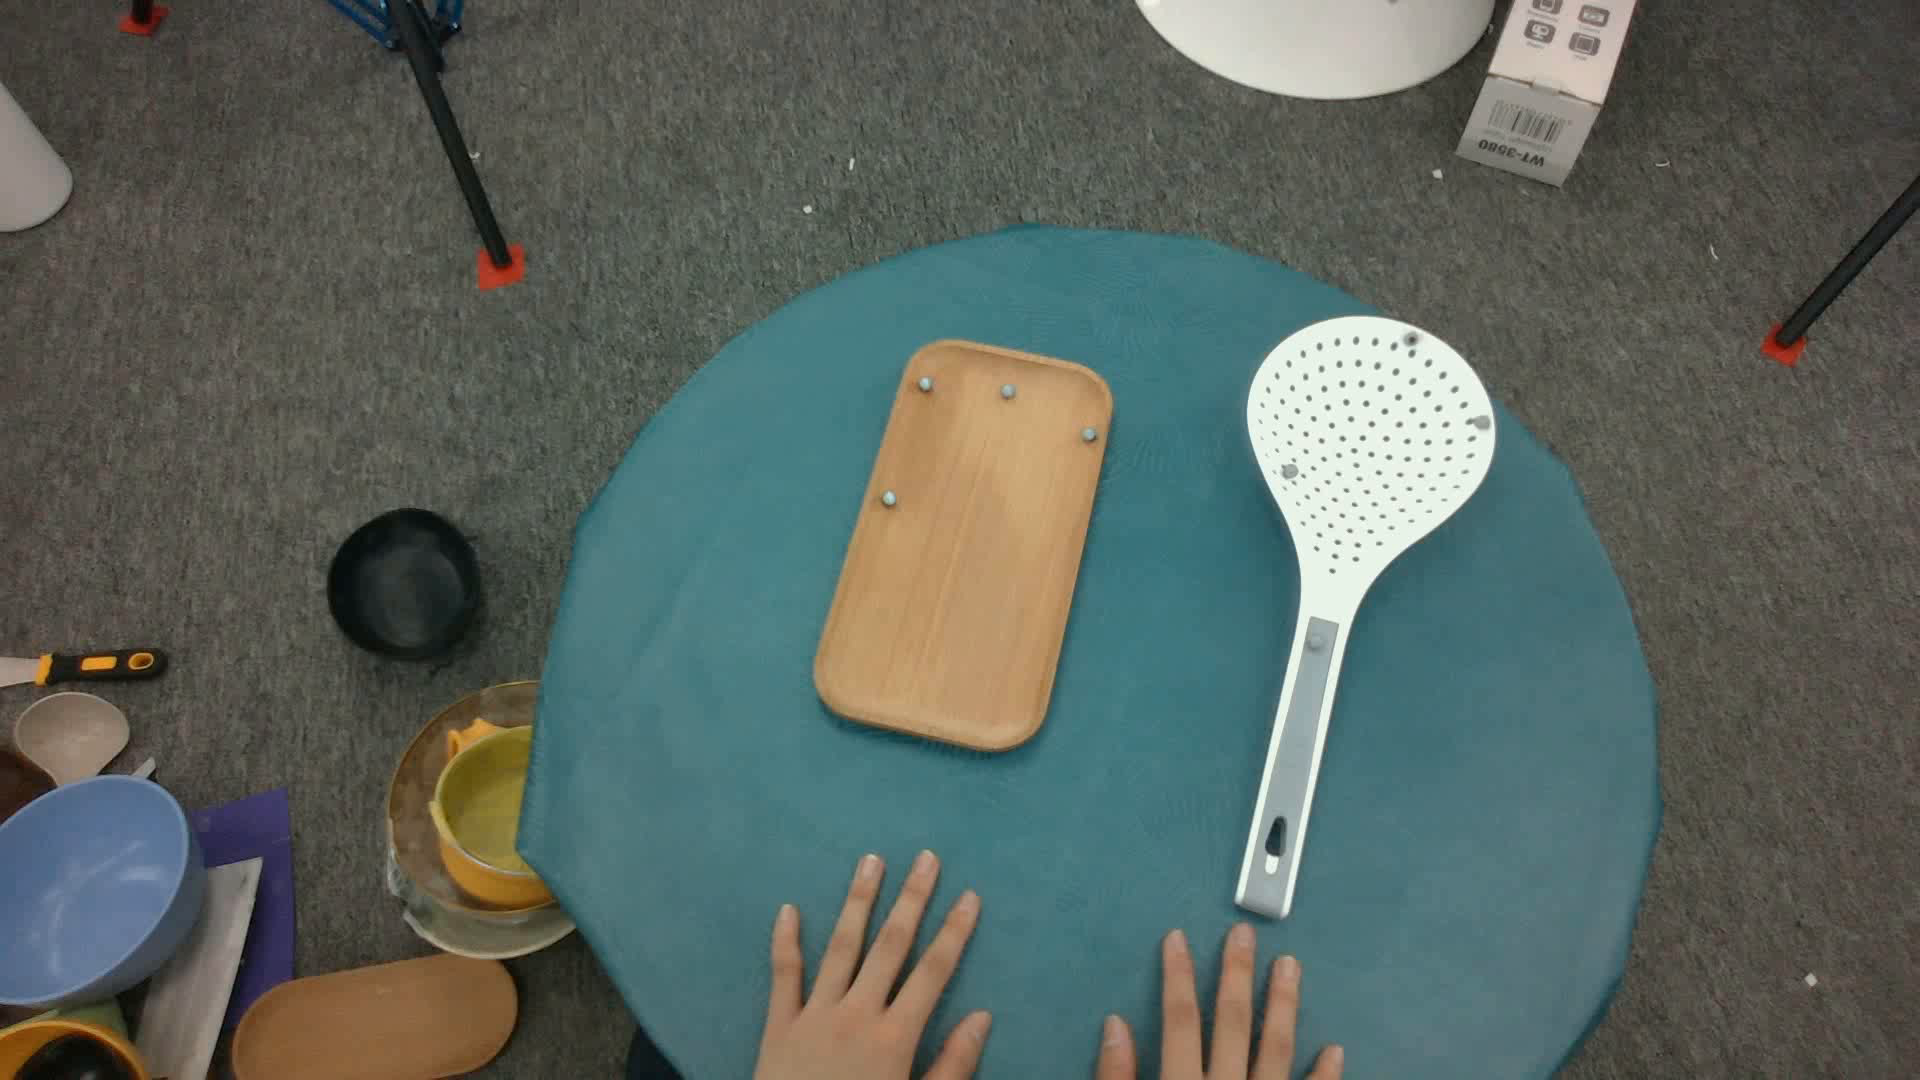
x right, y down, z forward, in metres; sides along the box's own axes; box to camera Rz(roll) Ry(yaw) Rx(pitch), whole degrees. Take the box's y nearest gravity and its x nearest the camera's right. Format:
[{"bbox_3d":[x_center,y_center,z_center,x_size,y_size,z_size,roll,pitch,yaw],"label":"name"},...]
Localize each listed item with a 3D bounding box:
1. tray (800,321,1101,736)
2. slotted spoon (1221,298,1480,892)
[{"bbox_3d":[-0.001,-0.013,0.775,0.130,0.023,0.252,11,63,6],"label":"tray"},{"bbox_3d":[0.195,0.018,0.748,0.136,0.045,0.351,15,63,9],"label":"slotted spoon"}]
